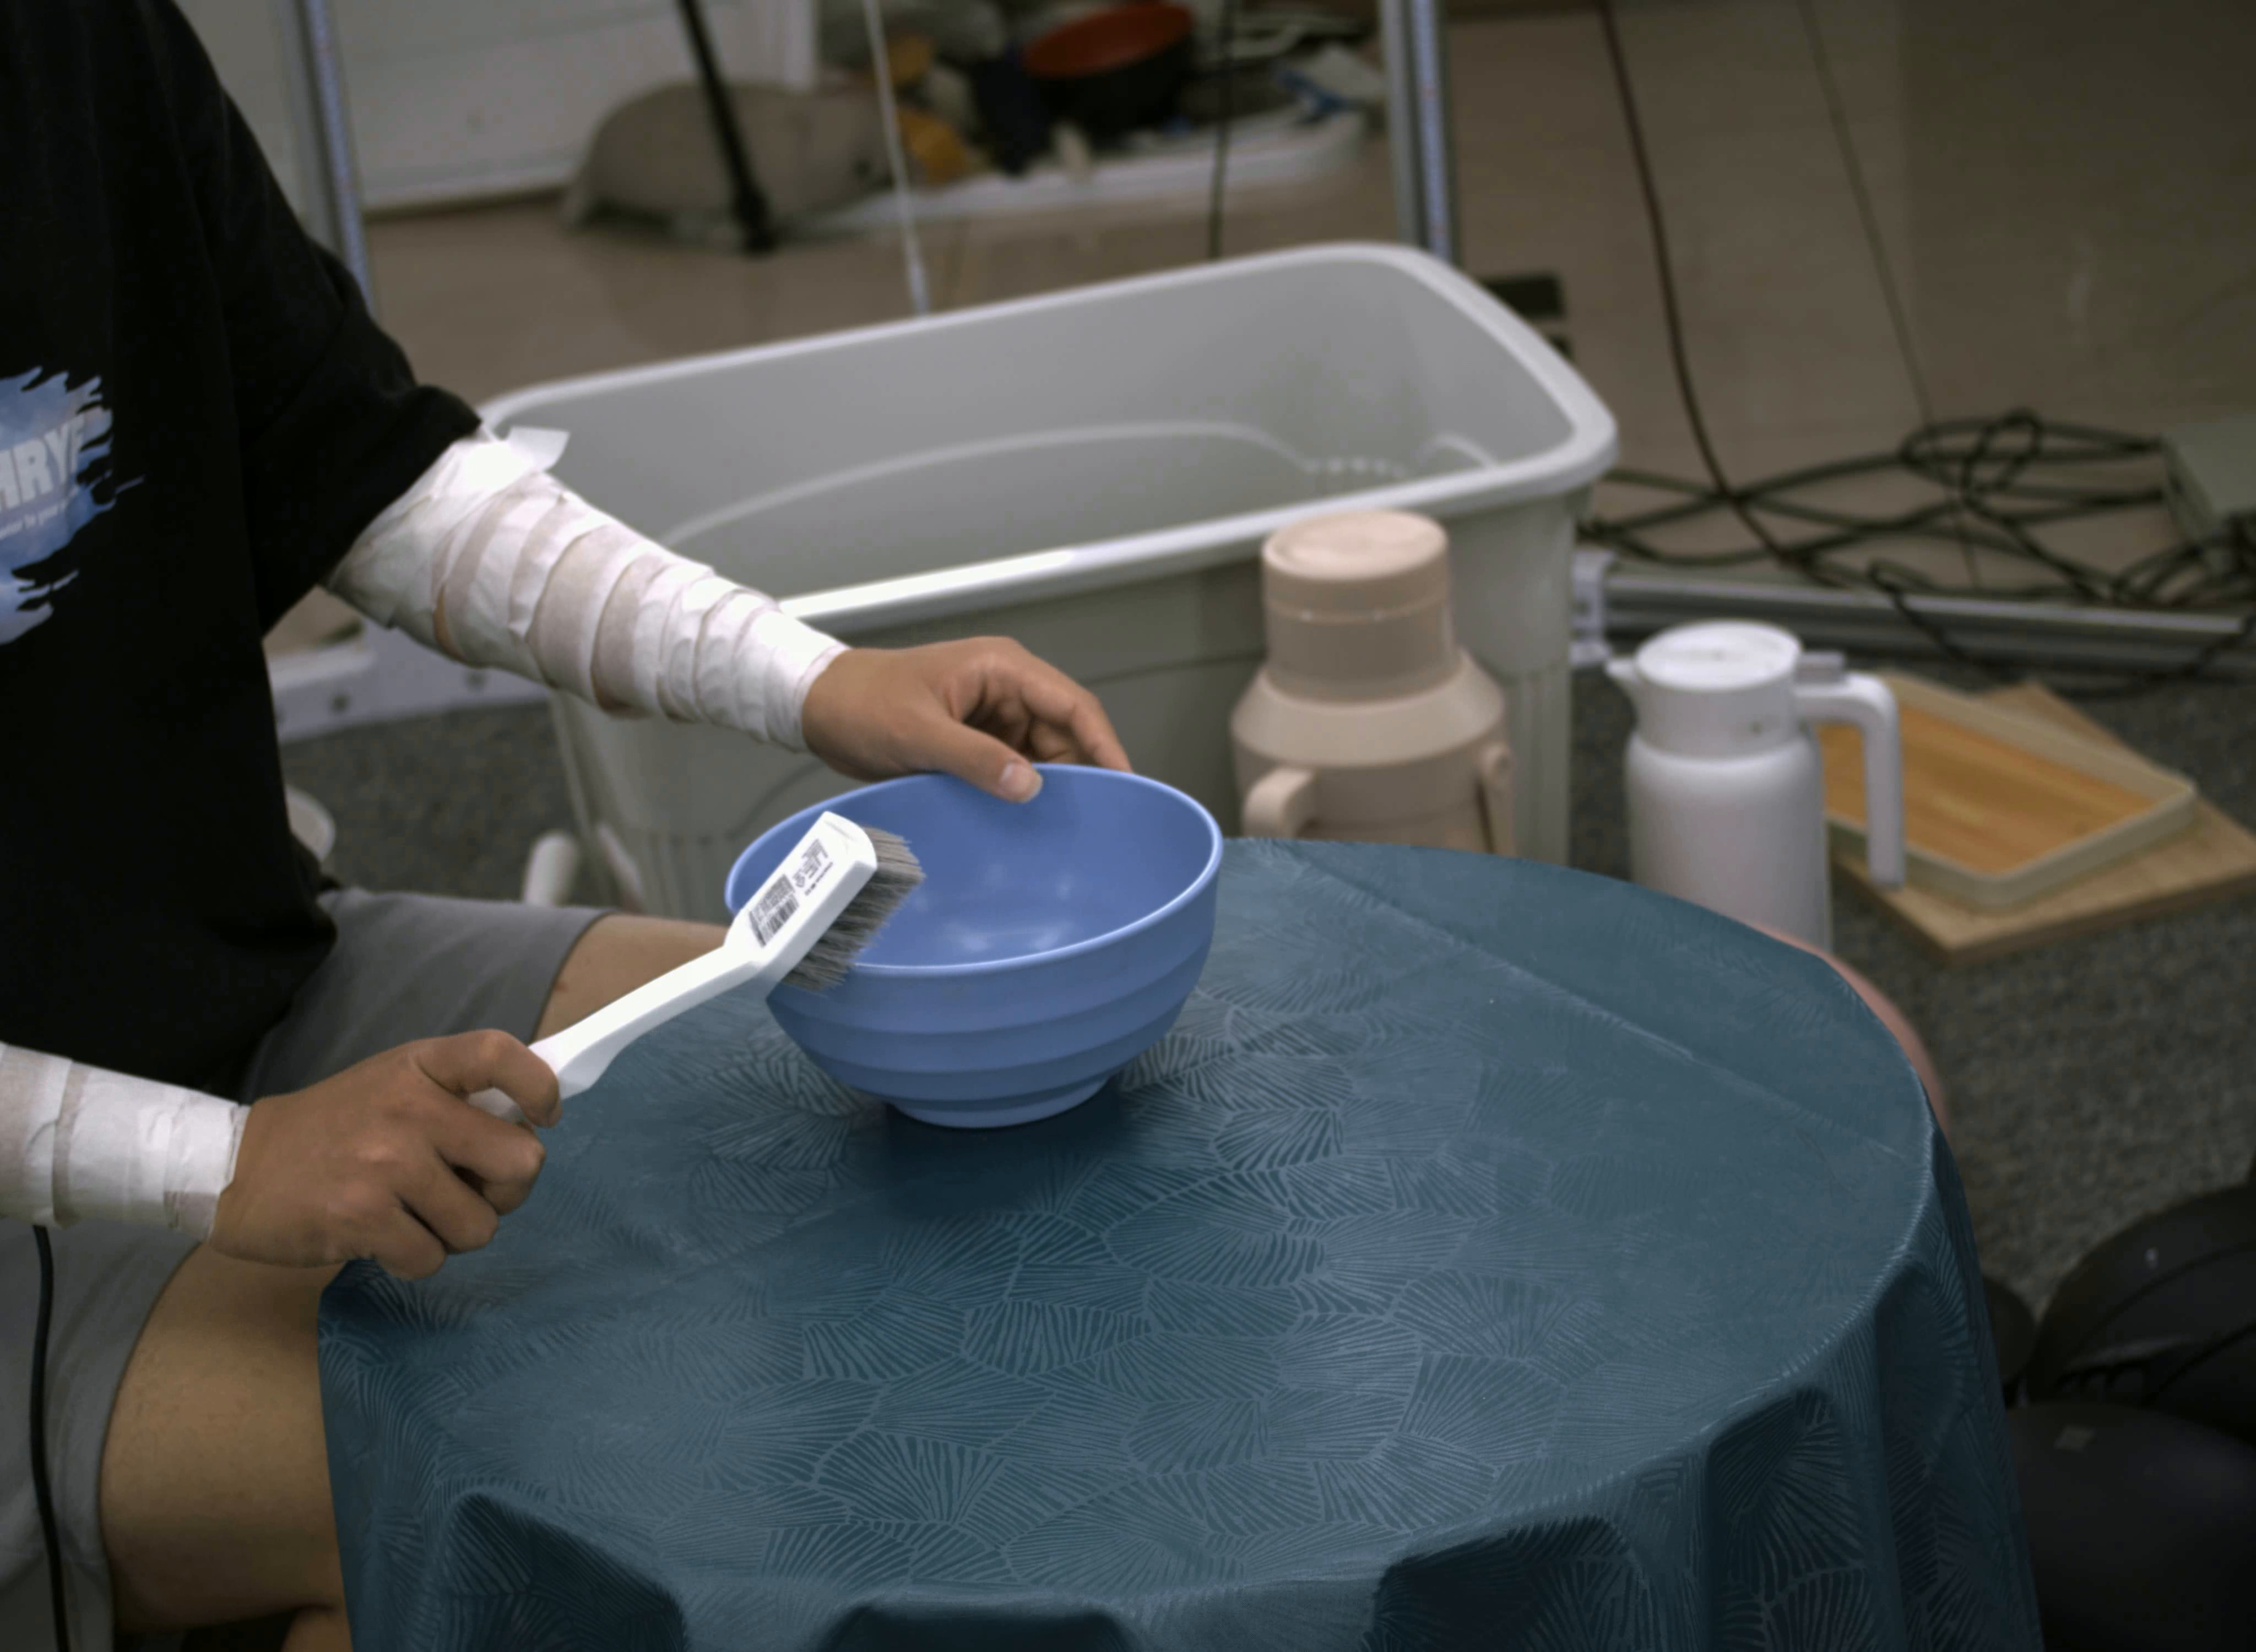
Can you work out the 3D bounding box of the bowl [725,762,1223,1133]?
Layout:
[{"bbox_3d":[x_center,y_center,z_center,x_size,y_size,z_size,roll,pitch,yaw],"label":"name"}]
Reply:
[{"bbox_3d":[-0.055,0.058,2.226,0.196,0.097,0.193,-7,25,3],"label":"bowl"}]

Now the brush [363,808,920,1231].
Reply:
[{"bbox_3d":[-0.180,0.081,2.120,0.243,0.051,0.034,-39,46,0],"label":"brush"}]
